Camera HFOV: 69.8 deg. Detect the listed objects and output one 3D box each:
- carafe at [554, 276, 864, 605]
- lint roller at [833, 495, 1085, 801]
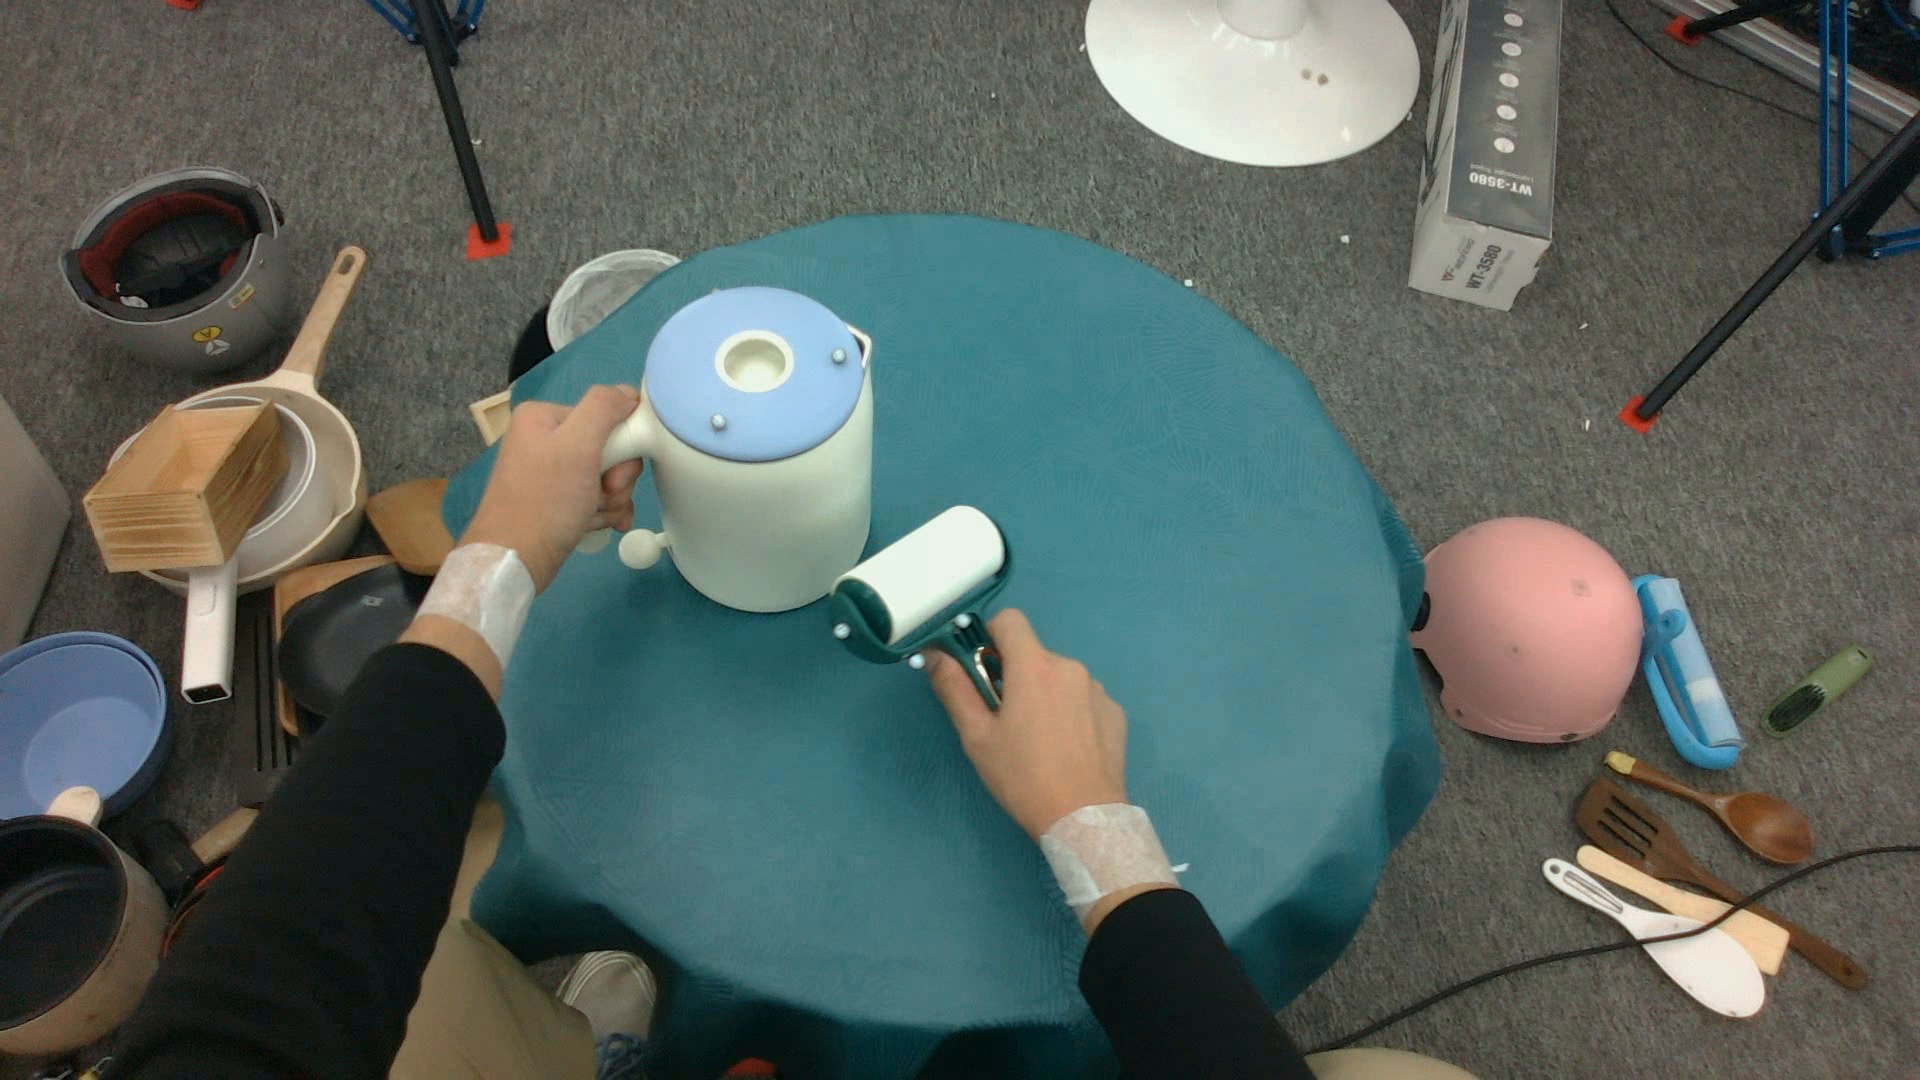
[{"bbox_3d":[-0.145,-0.046,0.811,0.191,0.181,0.132,-23,63,-16],"label":"carafe"},{"bbox_3d":[0.021,0.066,0.774,0.135,0.048,0.180,-32,80,-42],"label":"lint roller"}]
